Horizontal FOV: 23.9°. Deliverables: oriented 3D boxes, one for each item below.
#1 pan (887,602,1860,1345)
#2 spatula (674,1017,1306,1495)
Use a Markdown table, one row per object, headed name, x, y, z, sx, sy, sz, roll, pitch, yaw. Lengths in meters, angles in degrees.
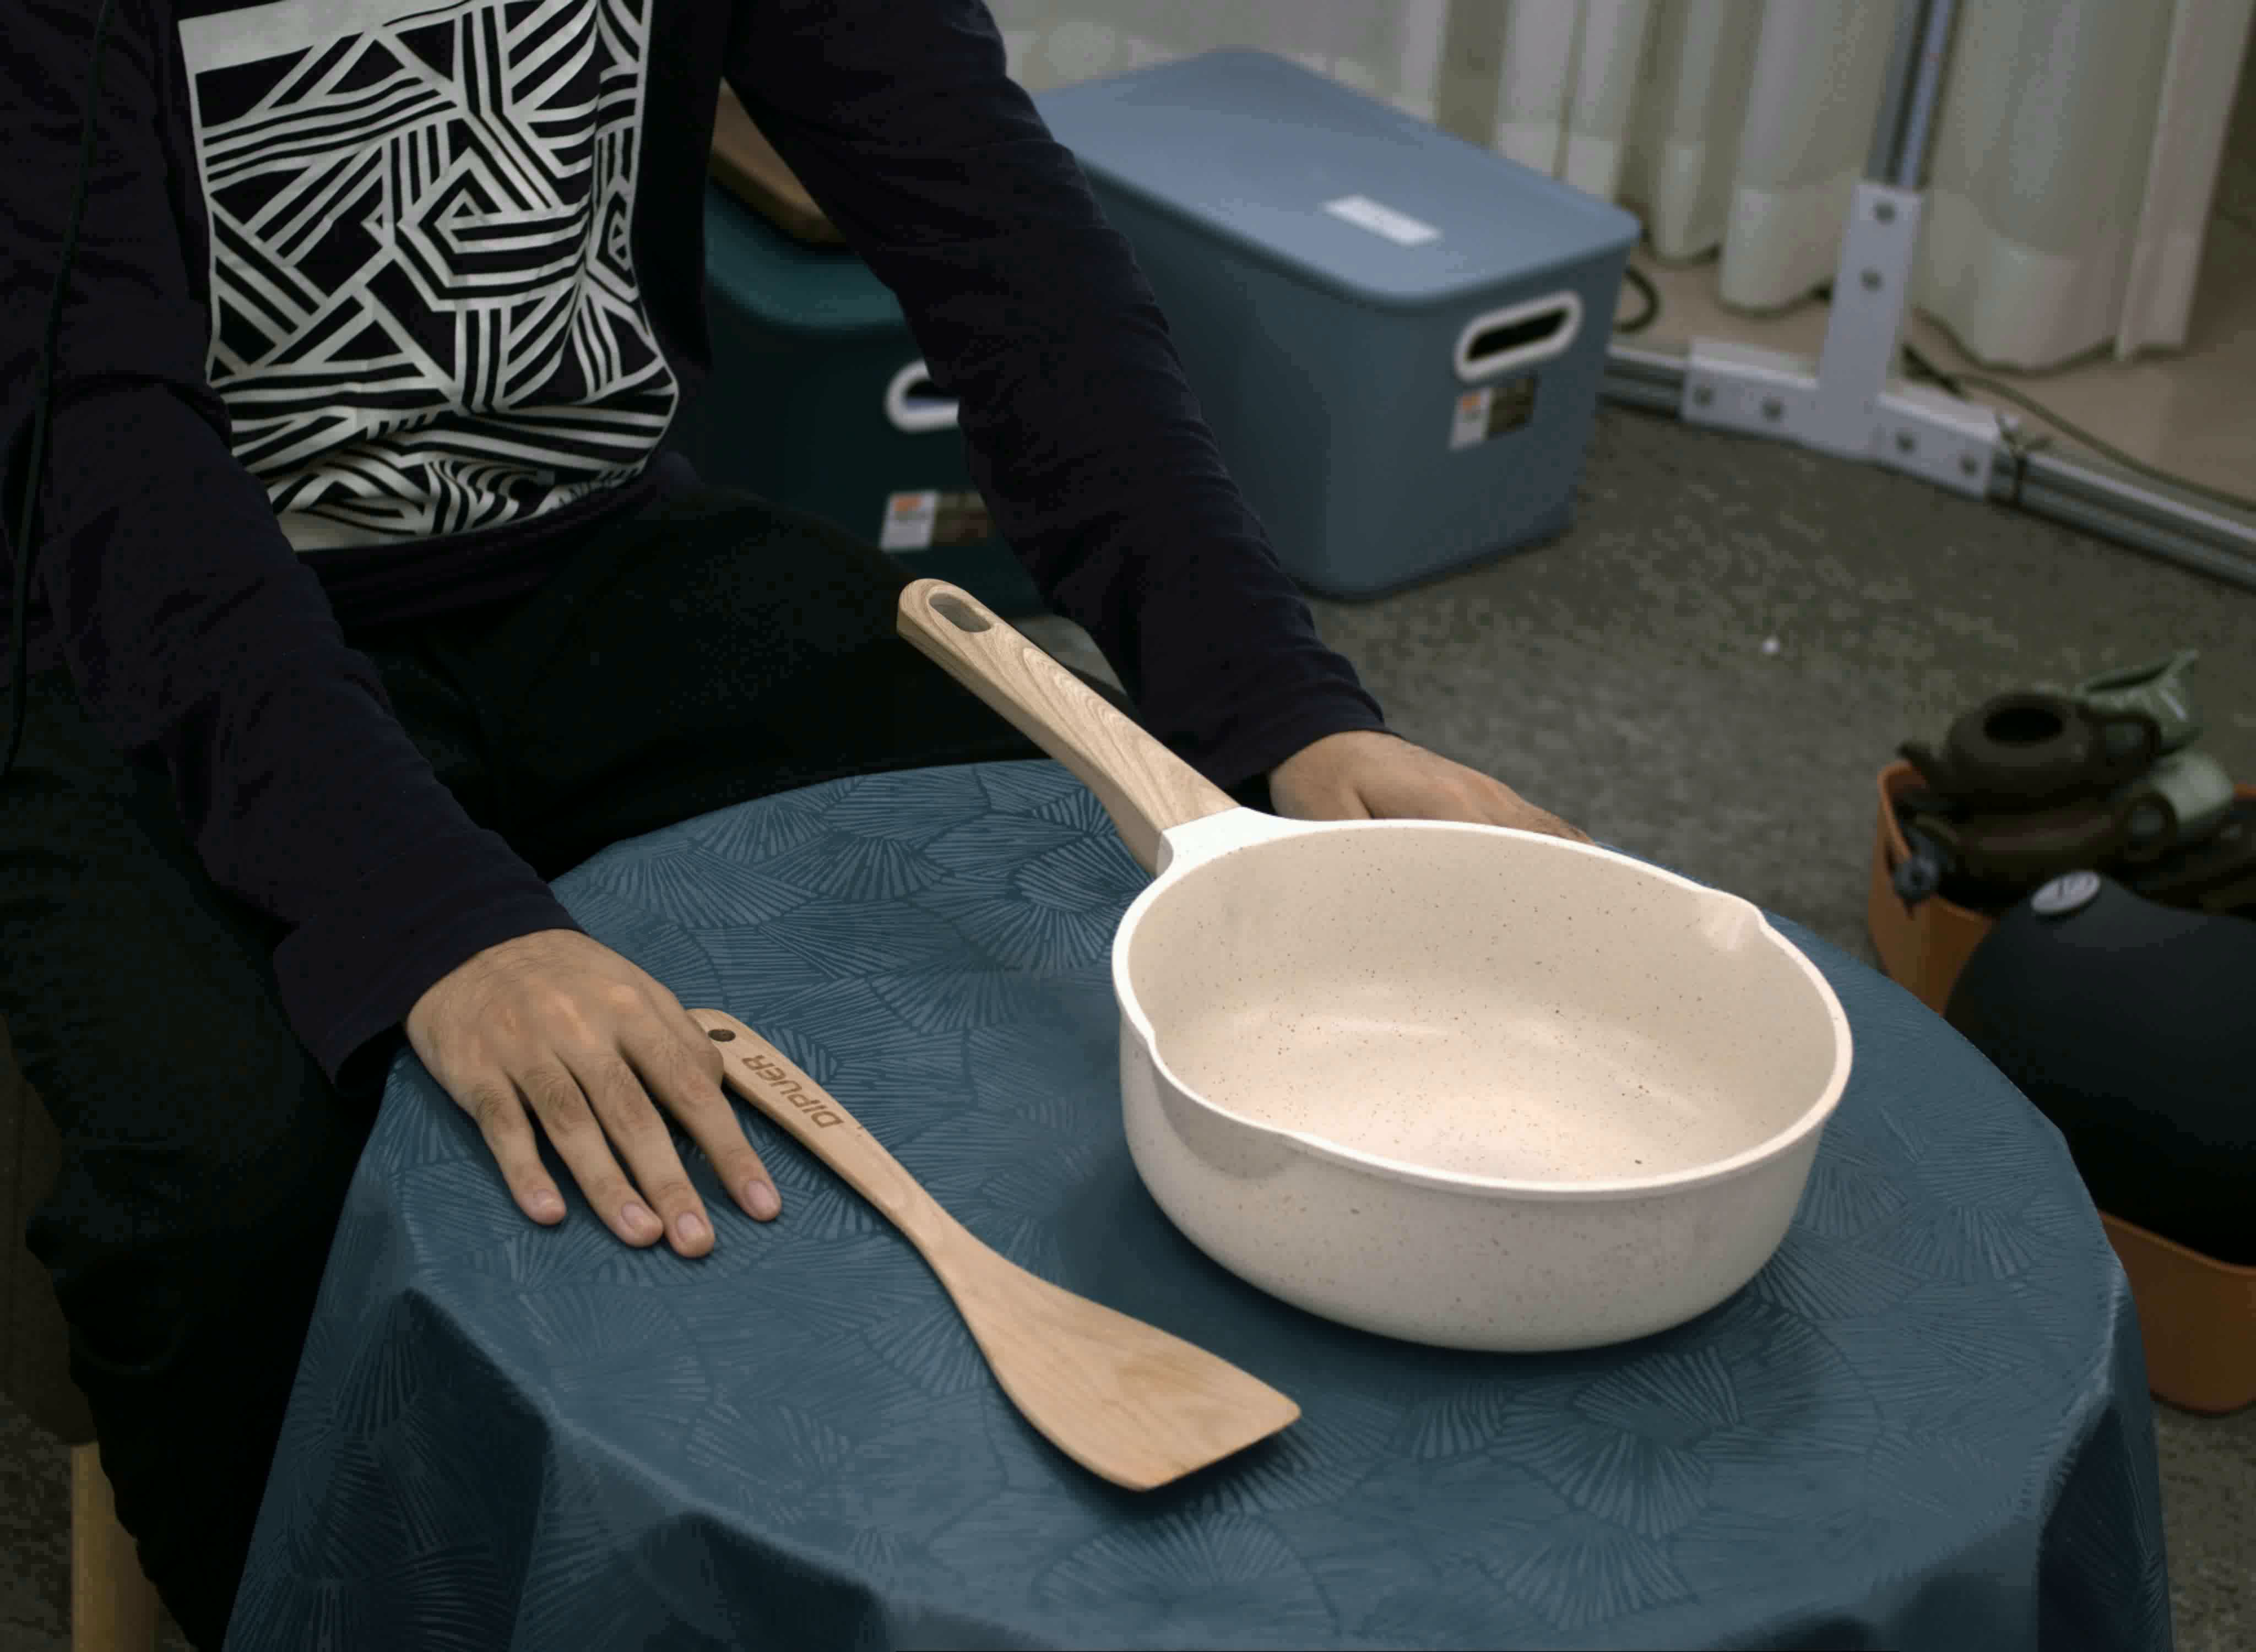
| name | x | y | z | sx | sy | sz | roll | pitch | yaw |
| --- | --- | --- | --- | --- | --- | --- | --- | --- | --- |
| pan | 0.058 | 0.047 | 1.869 | 0.262 | 0.101 | 0.438 | -18 | 35 | -38 |
| spatula | -0.059 | 0.135 | 1.763 | 0.079 | 0.016 | 0.330 | -13 | 32 | -33 |
